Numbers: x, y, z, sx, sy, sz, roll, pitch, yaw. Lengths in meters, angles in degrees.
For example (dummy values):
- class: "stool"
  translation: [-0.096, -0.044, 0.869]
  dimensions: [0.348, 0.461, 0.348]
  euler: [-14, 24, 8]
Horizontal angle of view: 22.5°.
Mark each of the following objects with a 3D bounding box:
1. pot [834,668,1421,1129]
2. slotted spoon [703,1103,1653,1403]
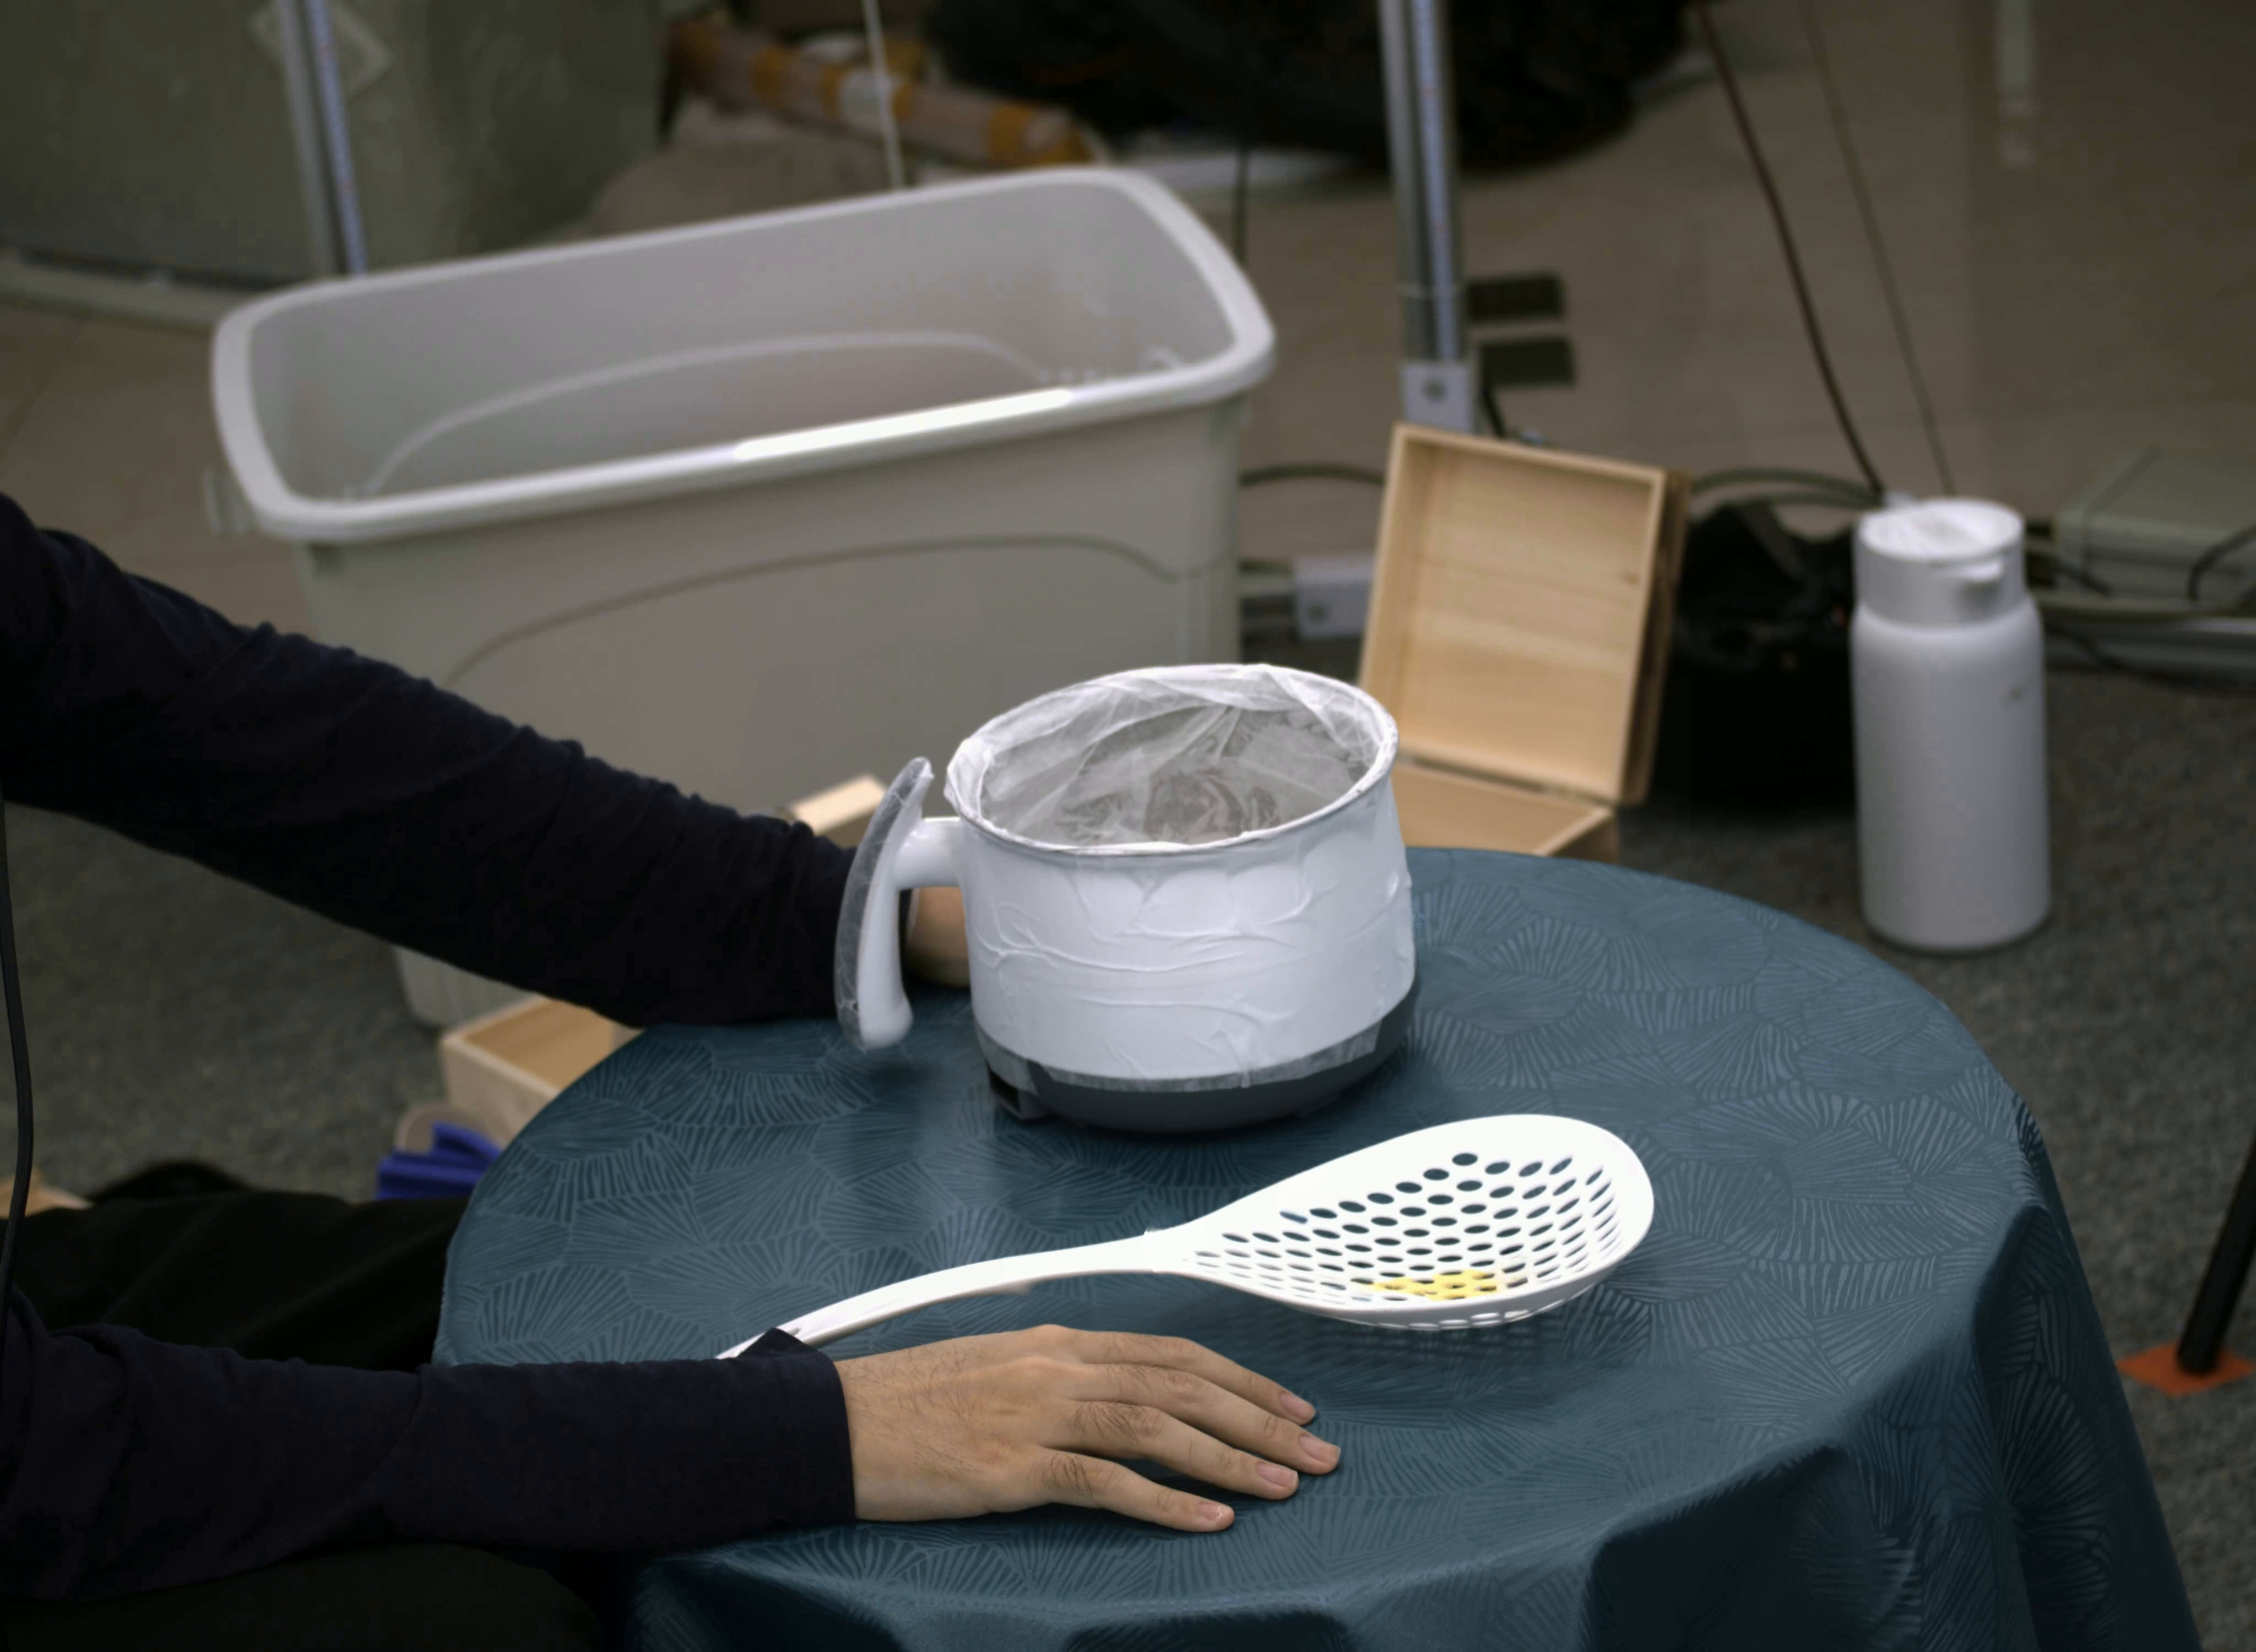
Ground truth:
- class: "pot"
  translation: [-0.003, 0.032, 2.219]
  dimensions: [0.233, 0.138, 0.176]
  euler: [-4, 23, 6]
- class: "slotted spoon"
  translation: [0.017, 0.164, 2.042]
  dimensions: [0.347, 0.051, 0.135]
  euler: [-6, 25, 0]
